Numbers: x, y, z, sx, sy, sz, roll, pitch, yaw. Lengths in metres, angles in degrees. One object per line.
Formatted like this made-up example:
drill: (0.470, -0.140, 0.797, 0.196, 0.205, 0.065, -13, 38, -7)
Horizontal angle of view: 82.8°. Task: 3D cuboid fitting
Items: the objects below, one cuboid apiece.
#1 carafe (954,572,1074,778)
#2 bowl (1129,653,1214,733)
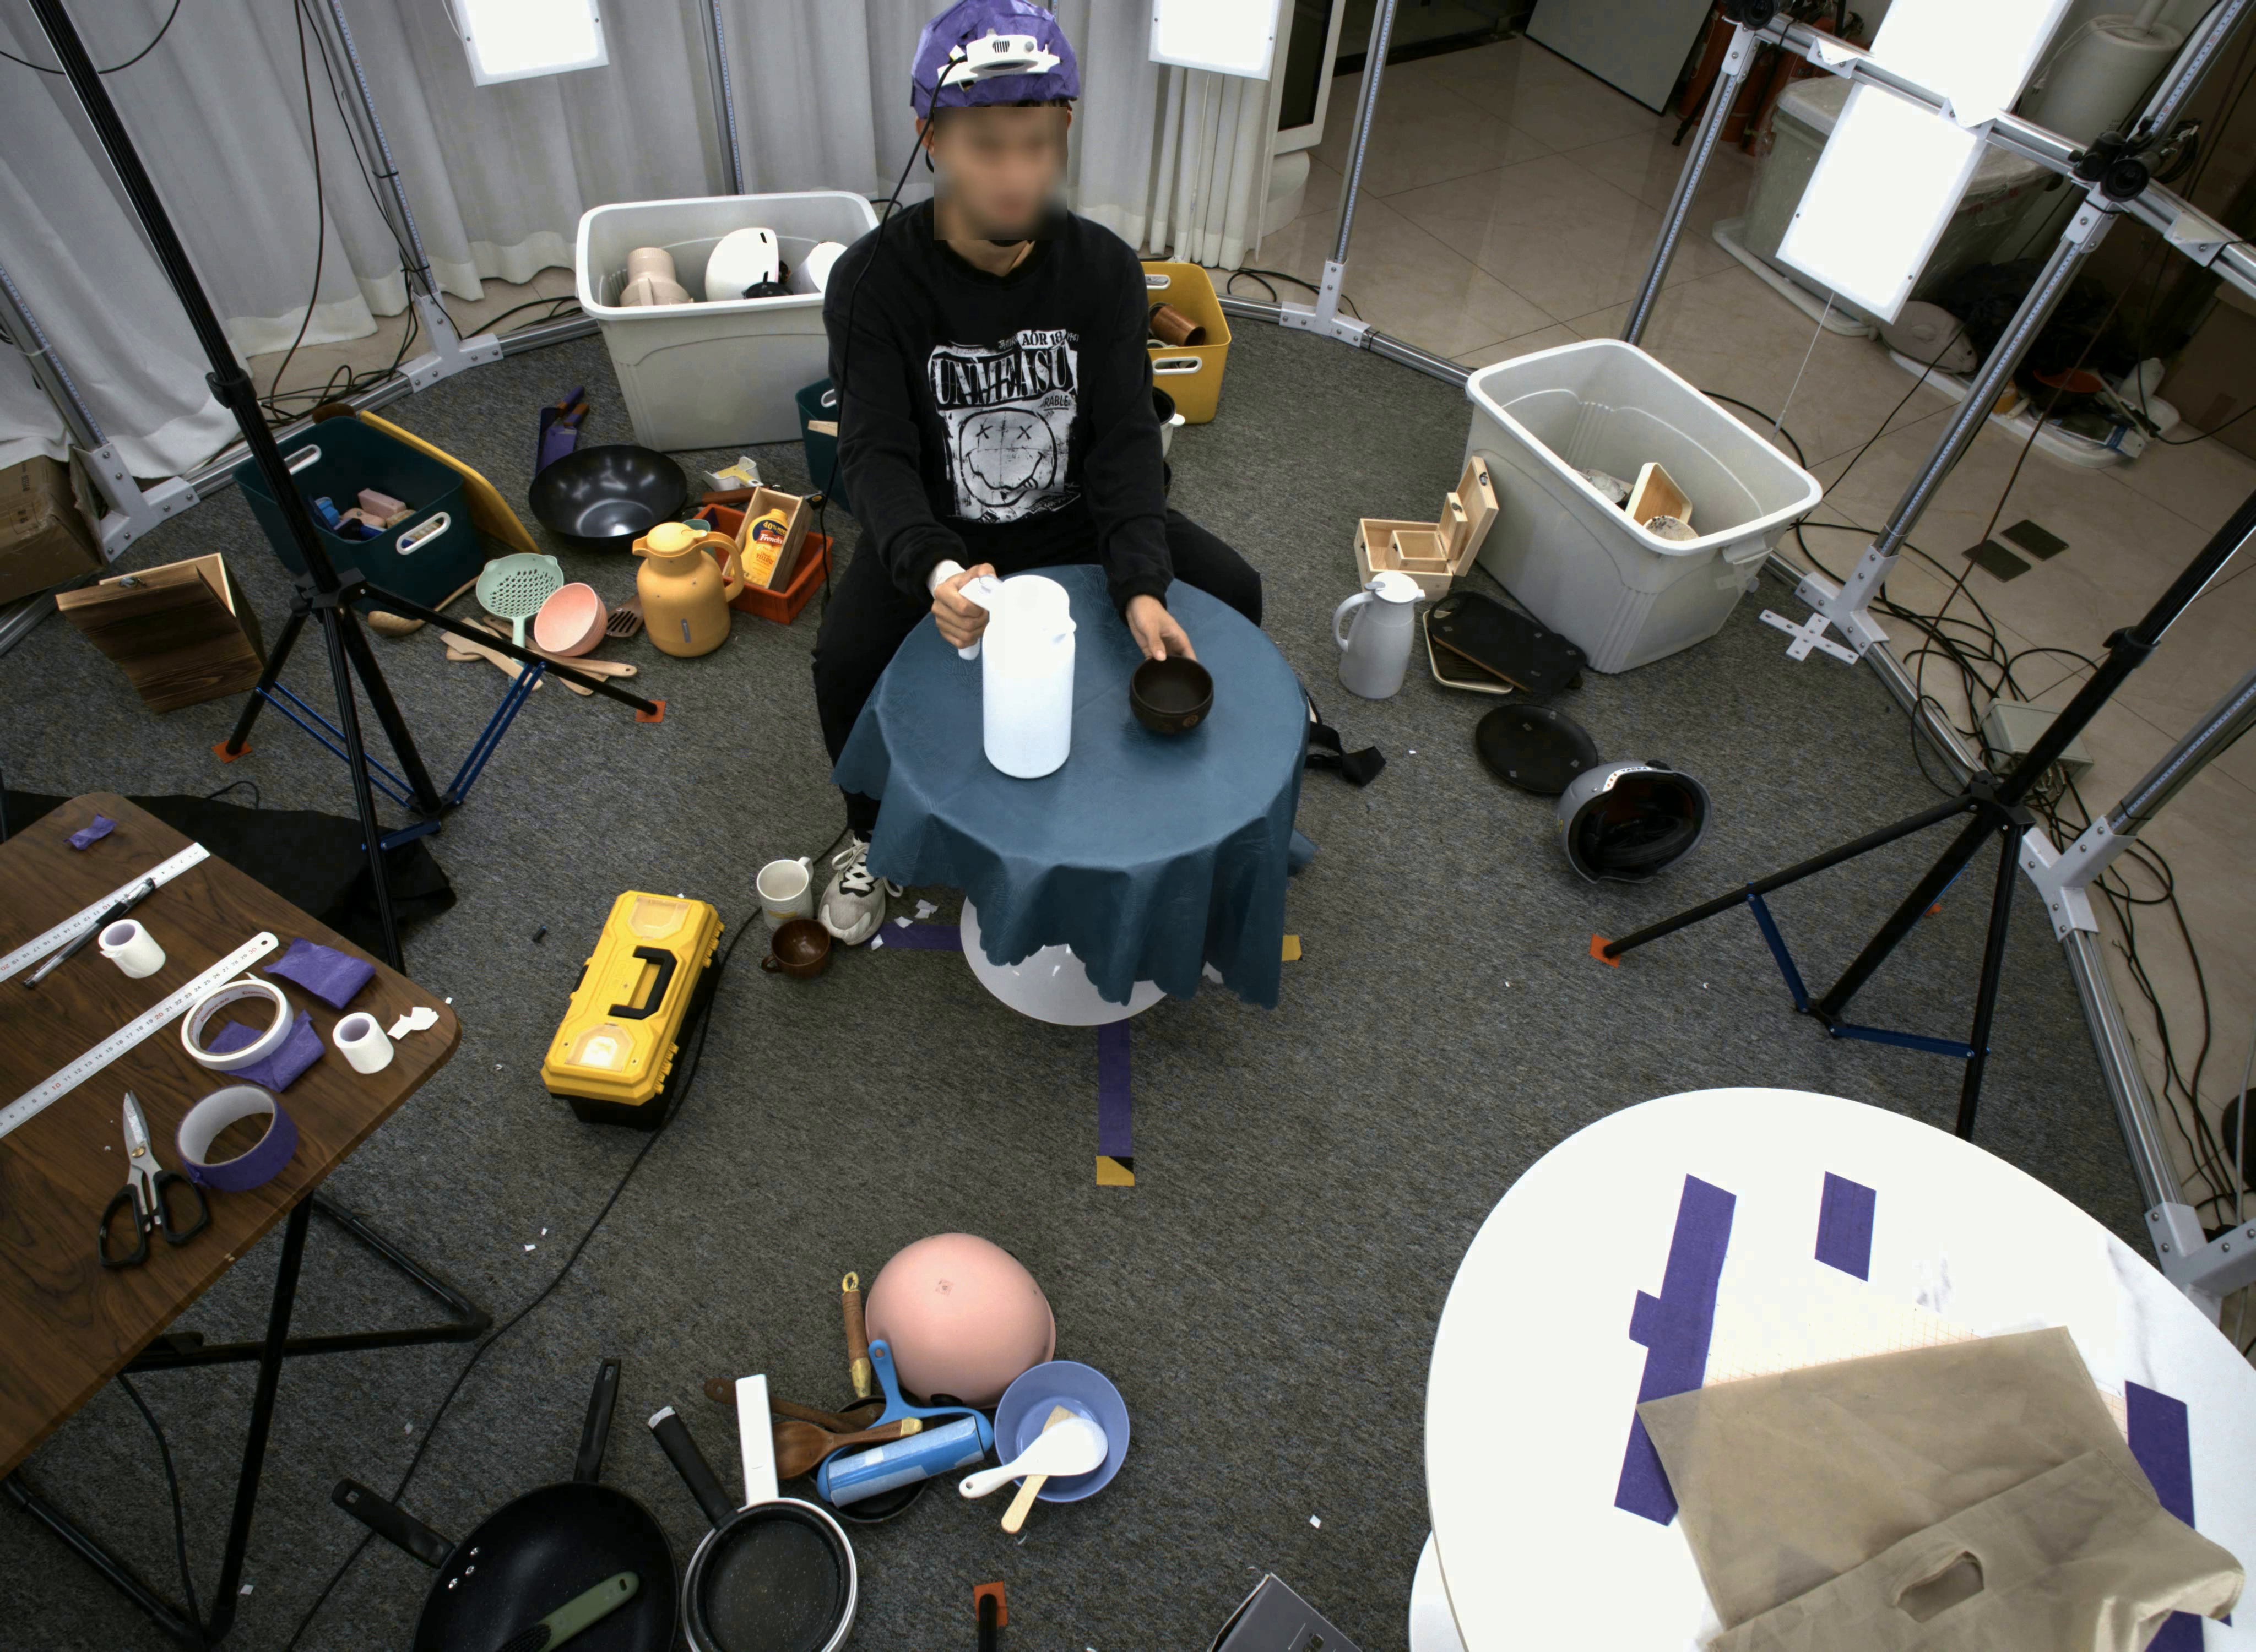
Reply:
carafe: (-0.146, -0.196, 1.658, 0.174, 0.262, 0.125, 28, 55, 19)
bowl: (0.059, -0.176, 1.777, 0.118, 0.068, 0.121, 1, 49, -2)
